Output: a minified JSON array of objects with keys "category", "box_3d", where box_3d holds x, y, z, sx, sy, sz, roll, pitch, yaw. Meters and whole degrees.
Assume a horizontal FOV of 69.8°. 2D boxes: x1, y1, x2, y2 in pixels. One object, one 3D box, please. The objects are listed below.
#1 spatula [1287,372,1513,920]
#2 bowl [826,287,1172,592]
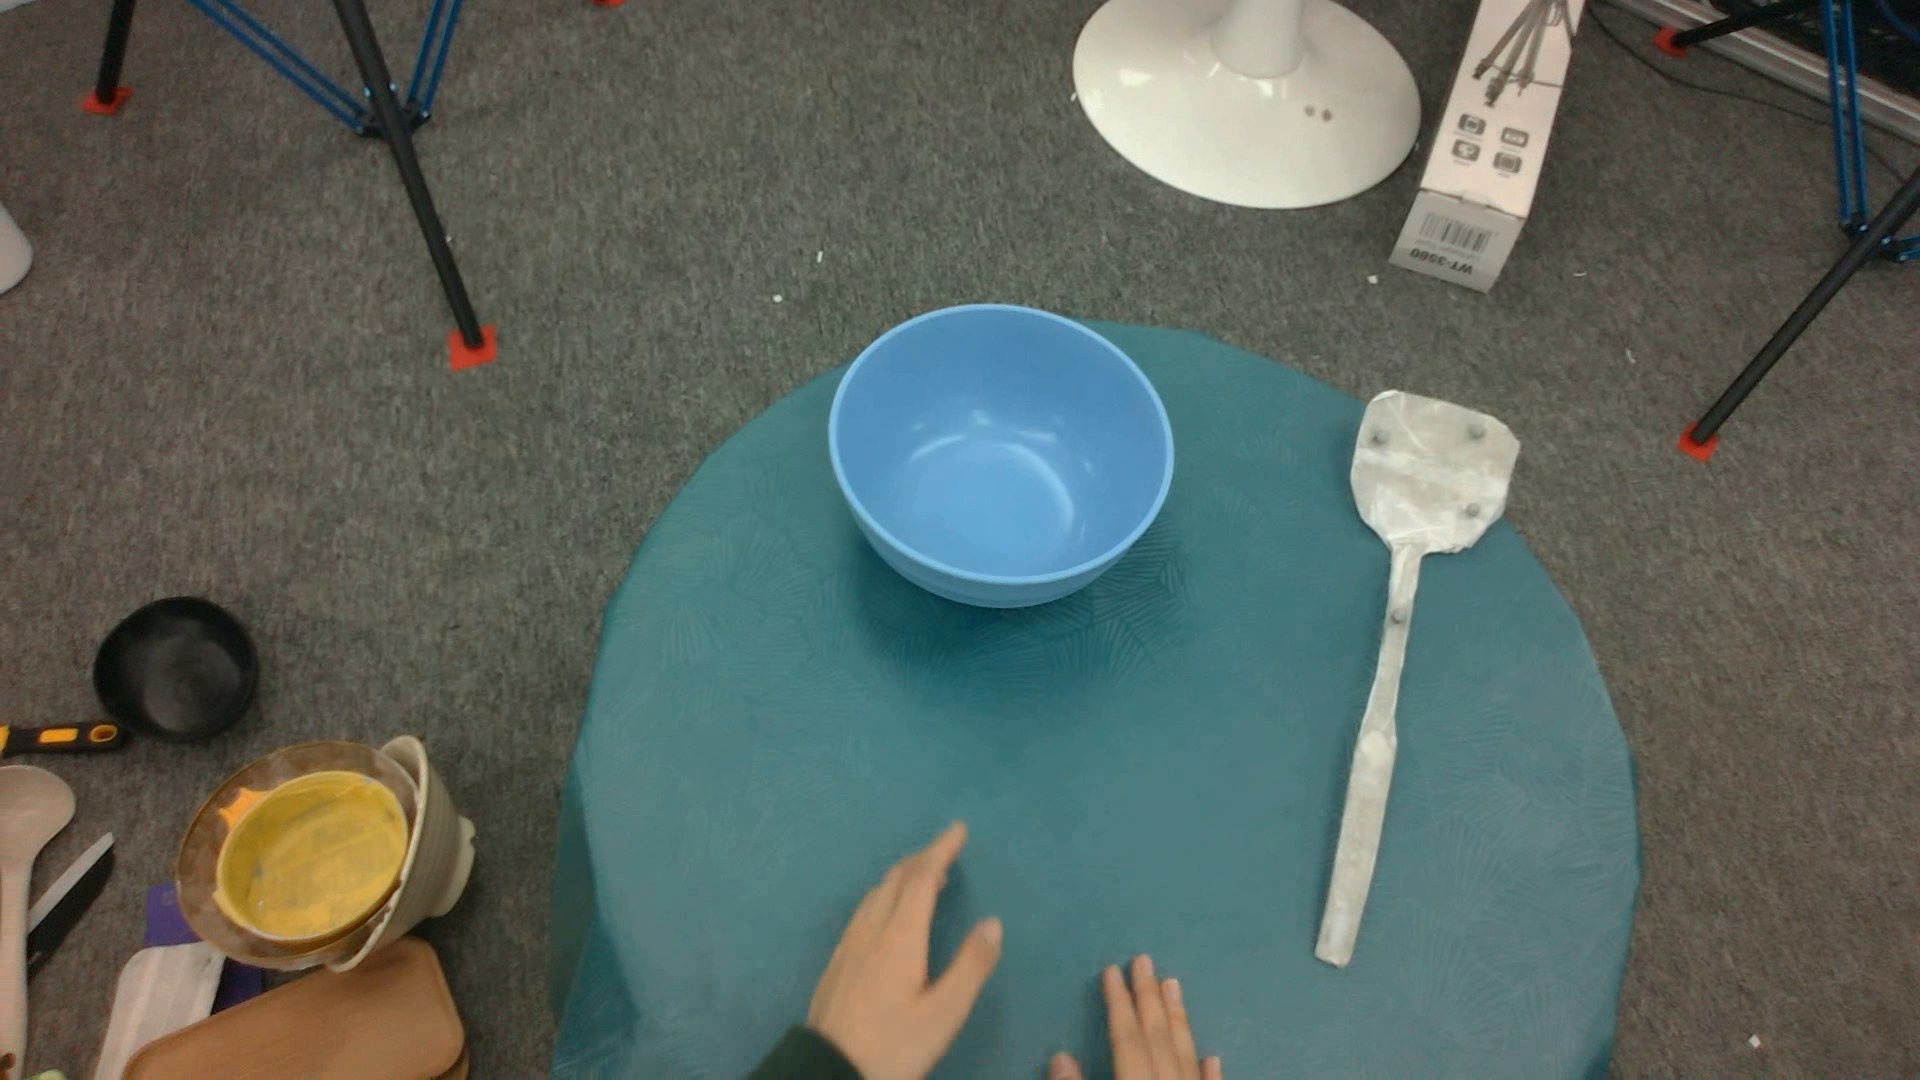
[{"category":"spatula","box_3d":[0.249,0.052,0.808,0.098,0.044,0.366,21,58,5]},{"category":"bowl","box_3d":[0.019,-0.045,0.812,0.196,0.095,0.197,3,57,-5]}]
